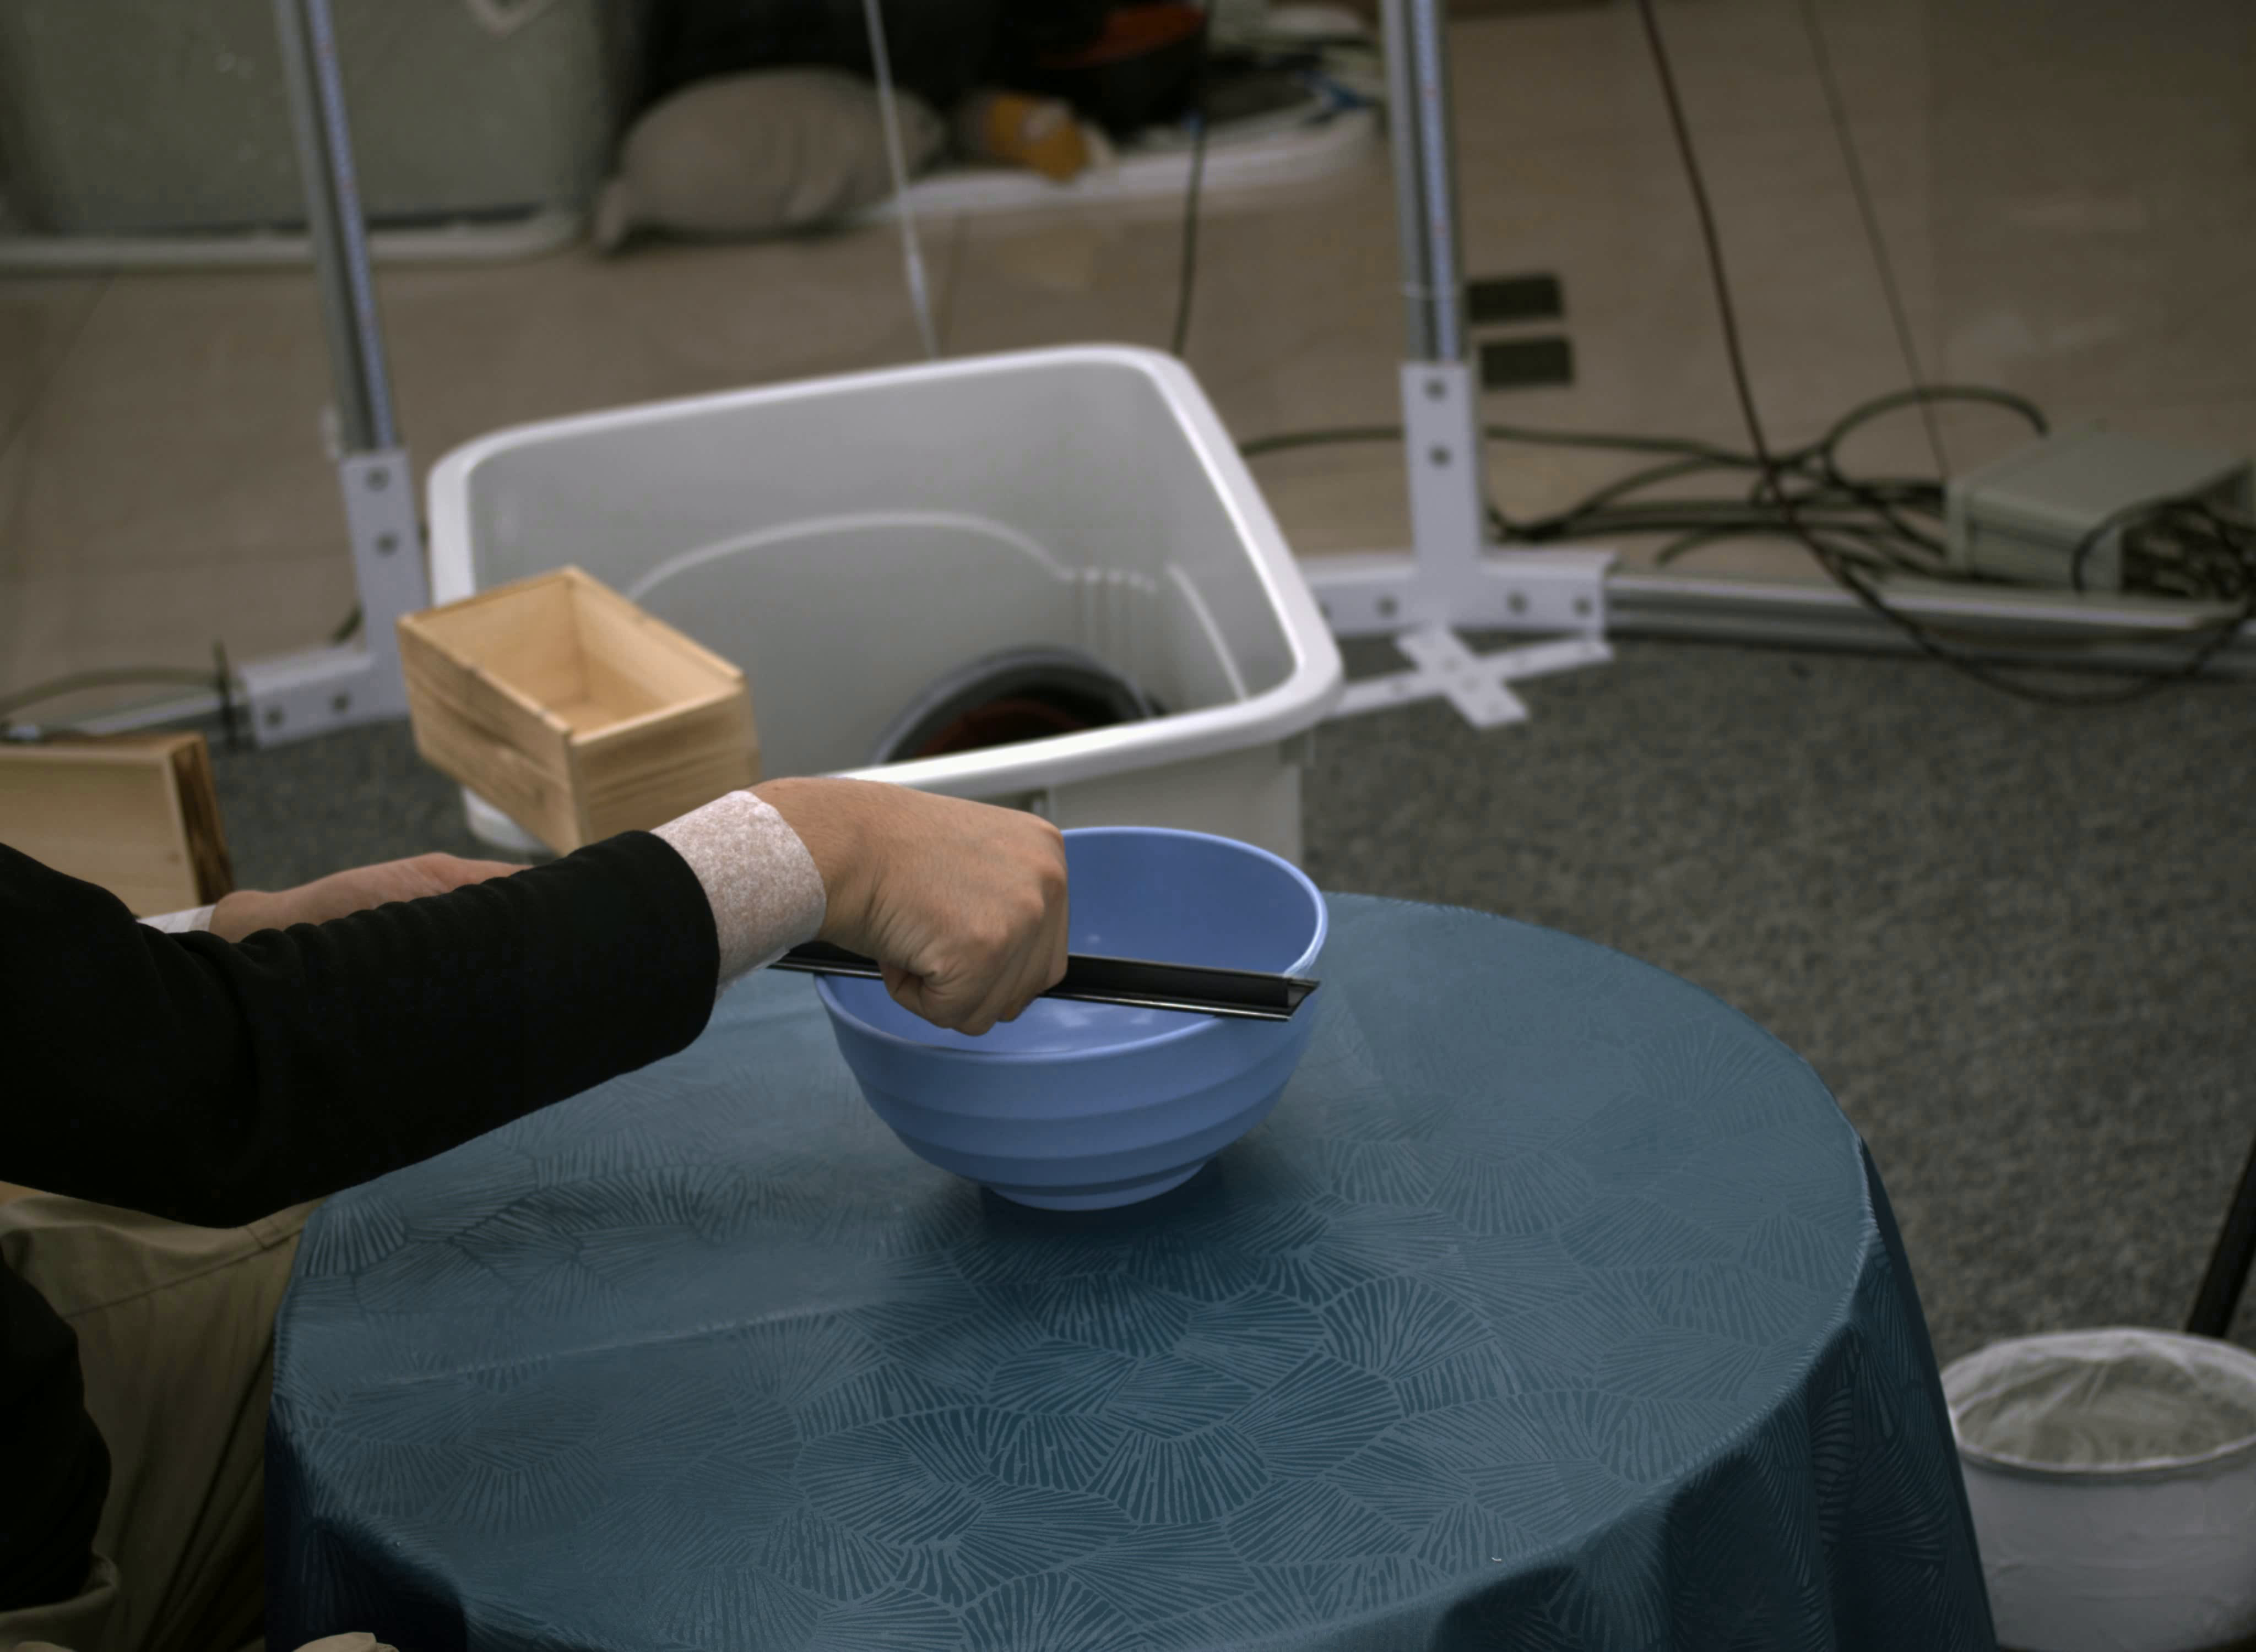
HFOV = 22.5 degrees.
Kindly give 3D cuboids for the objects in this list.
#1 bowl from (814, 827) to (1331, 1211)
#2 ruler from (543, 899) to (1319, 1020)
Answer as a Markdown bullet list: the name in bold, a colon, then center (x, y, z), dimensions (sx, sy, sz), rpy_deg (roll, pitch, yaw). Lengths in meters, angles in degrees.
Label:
- **bowl**: center (-0.017, 0.084, 2.157), dimensions (0.196, 0.097, 0.193), rpy_deg (-5, 25, 2)
- **ruler**: center (-0.077, 0.044, 2.126), dimensions (0.311, 0.017, 0.039), rpy_deg (5, 21, 24)
